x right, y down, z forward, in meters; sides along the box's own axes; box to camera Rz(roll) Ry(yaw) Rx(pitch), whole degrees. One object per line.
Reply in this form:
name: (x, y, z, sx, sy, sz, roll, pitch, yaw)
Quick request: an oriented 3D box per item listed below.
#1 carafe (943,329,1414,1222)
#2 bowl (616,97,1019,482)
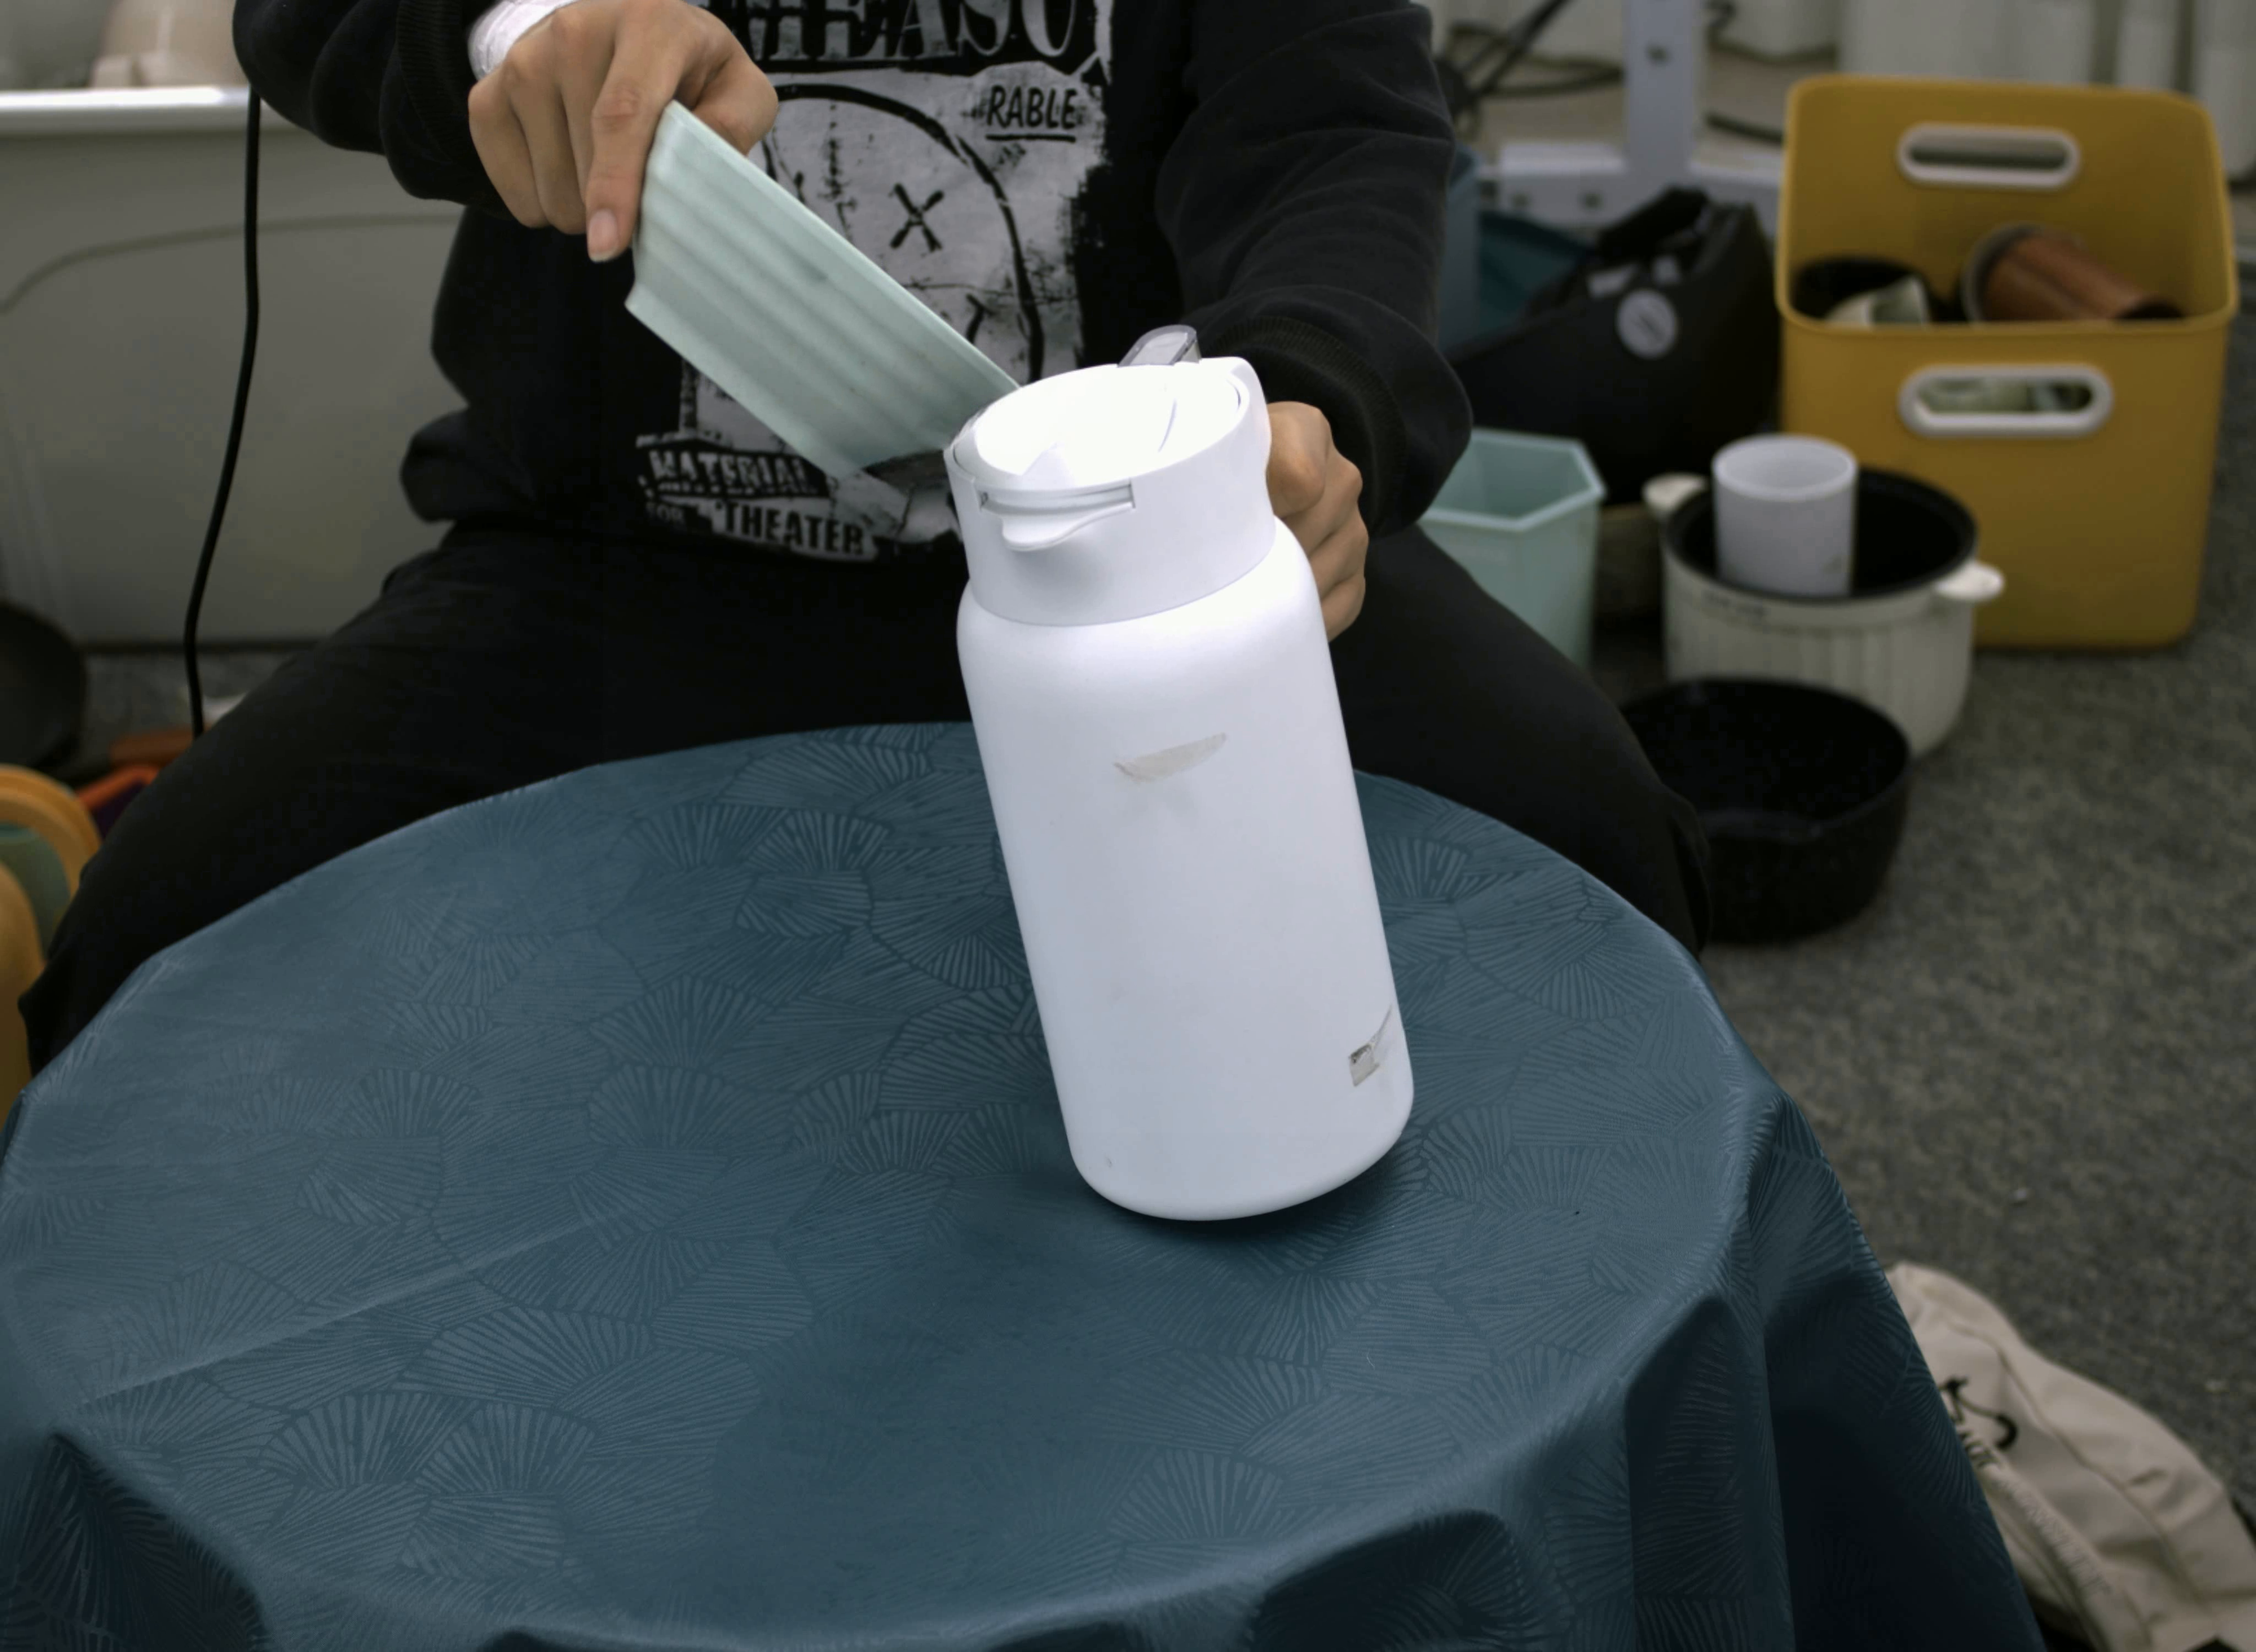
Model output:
carafe: (0.019, -0.020, 1.835, 0.122, 0.266, 0.176, -4, 26, 22)
bowl: (-0.104, -0.154, 1.711, 0.058, 0.150, 0.152, -51, 36, 2)
